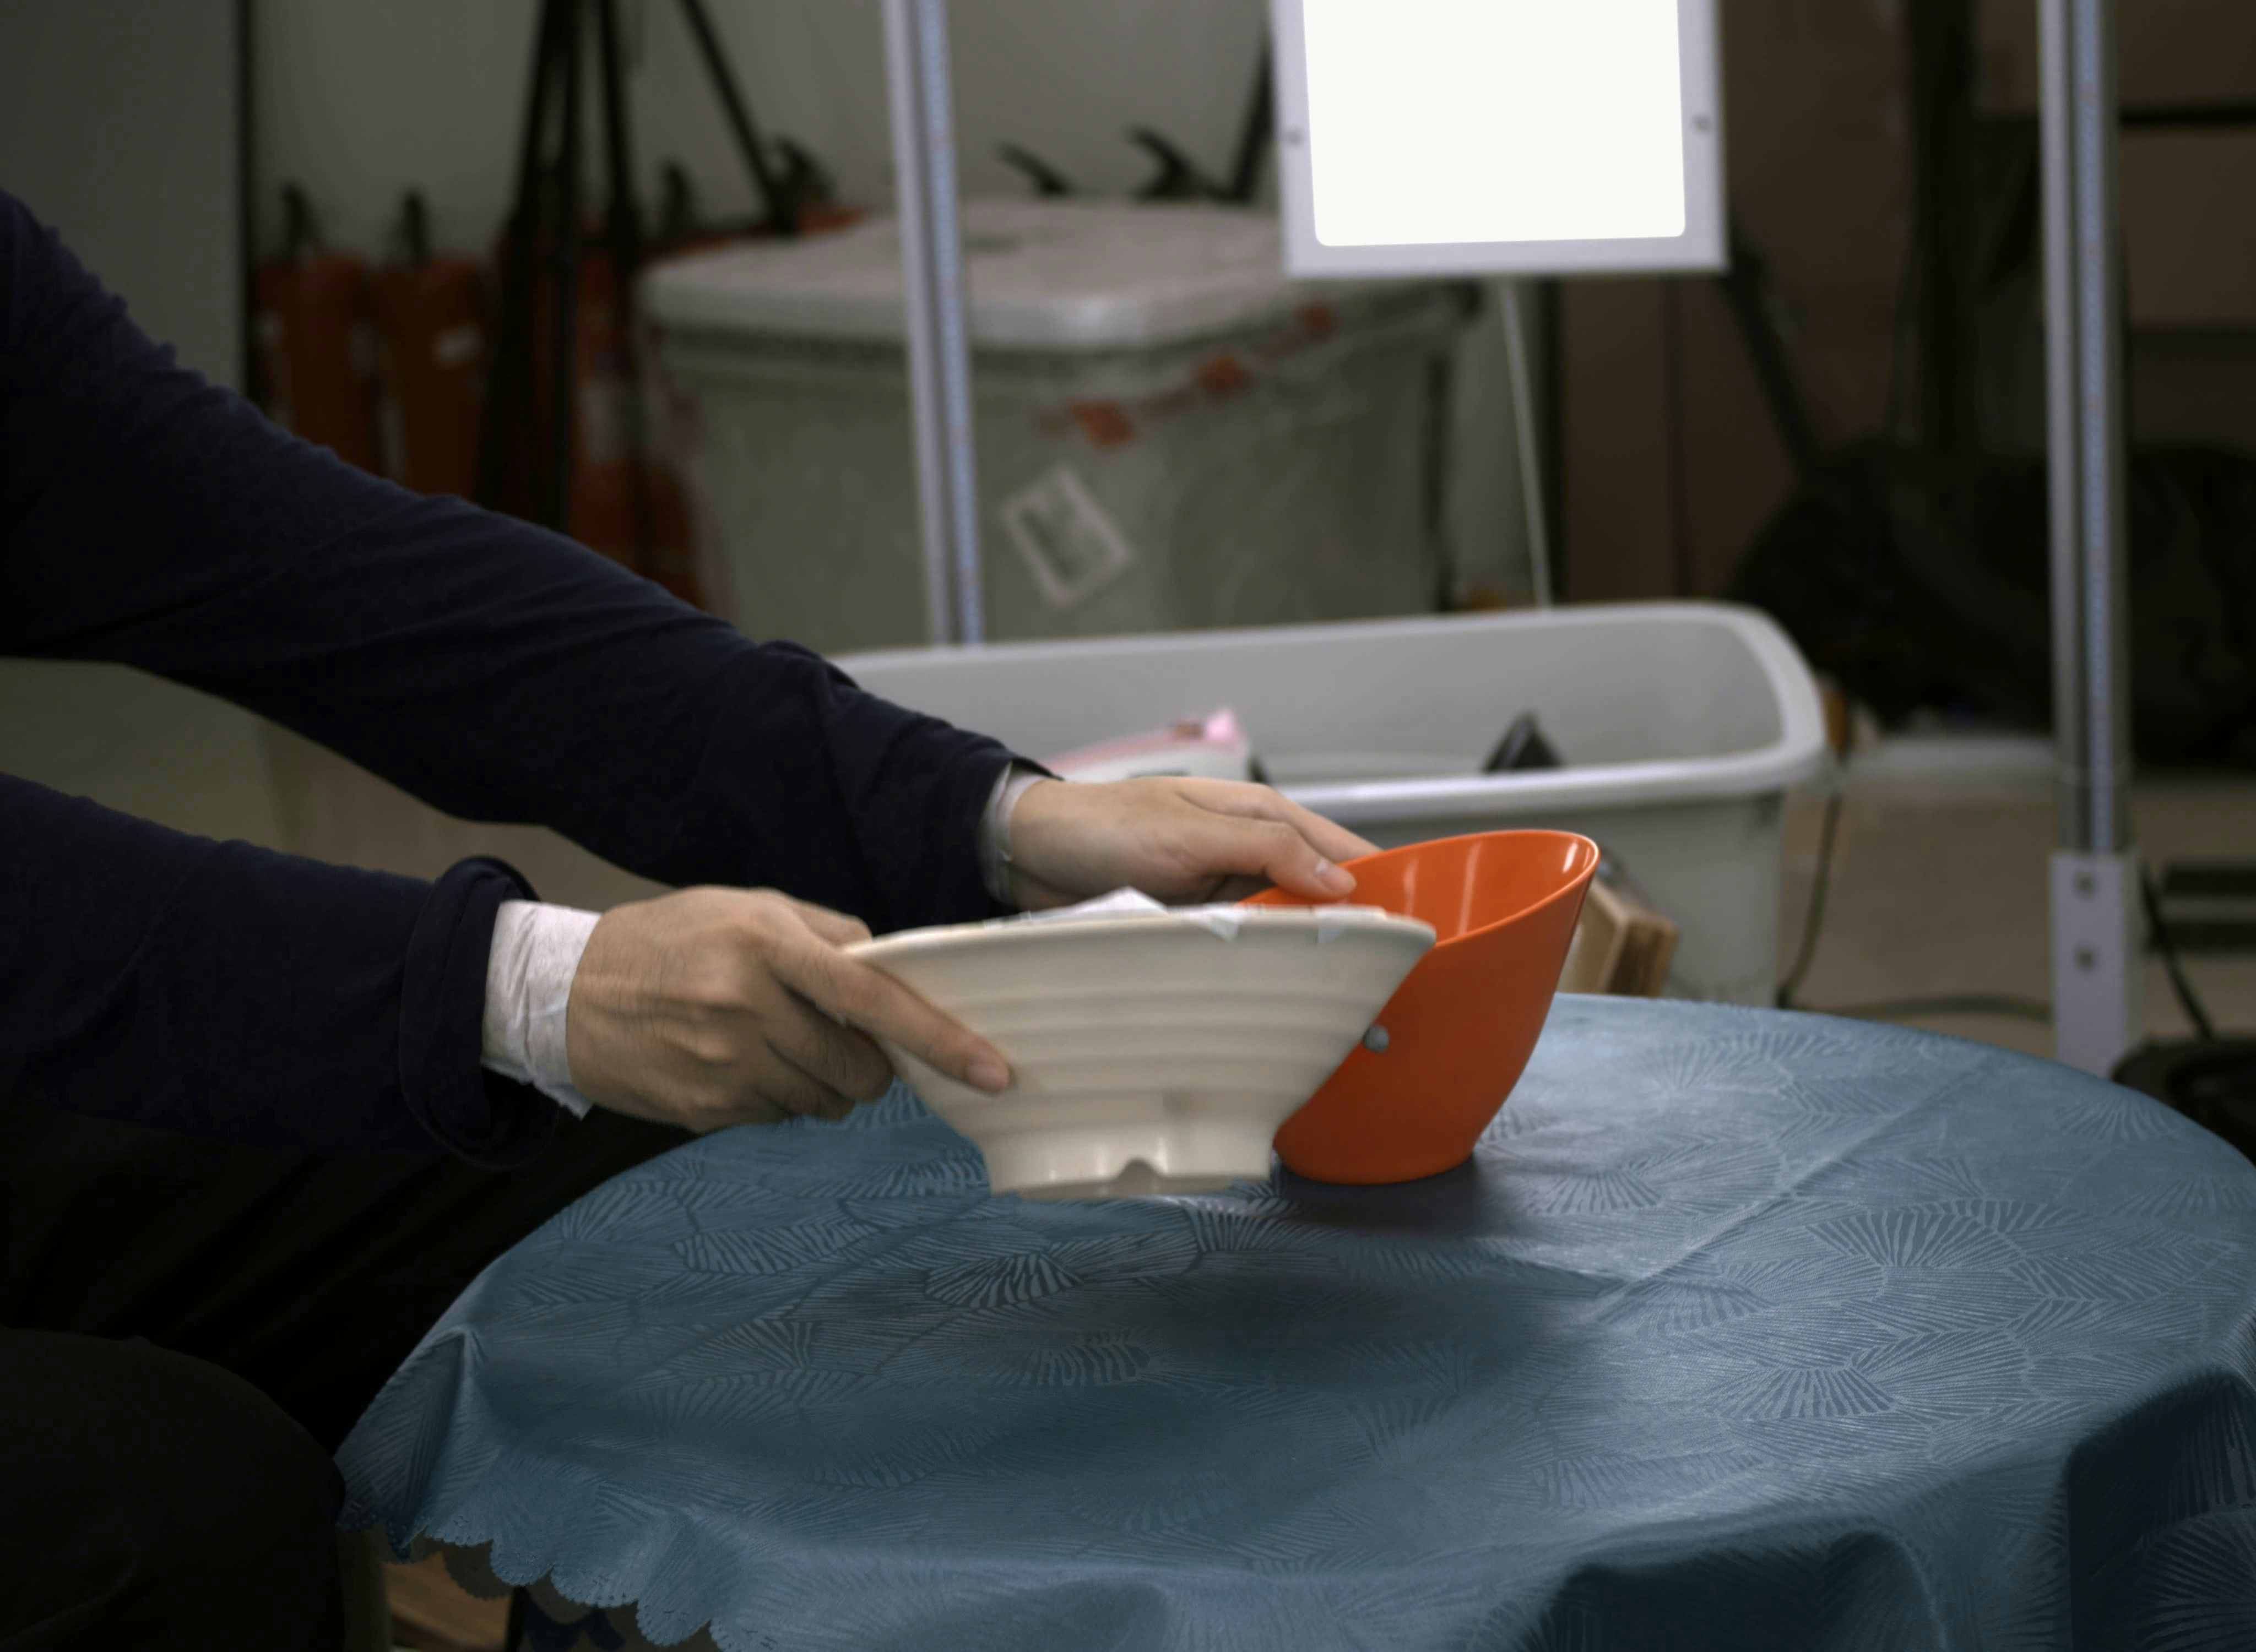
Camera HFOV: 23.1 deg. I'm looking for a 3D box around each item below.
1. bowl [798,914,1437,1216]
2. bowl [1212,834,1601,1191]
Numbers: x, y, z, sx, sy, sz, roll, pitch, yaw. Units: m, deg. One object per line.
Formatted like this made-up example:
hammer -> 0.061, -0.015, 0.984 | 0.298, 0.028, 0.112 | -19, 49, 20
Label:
bowl -> -0.001, 0.080, 1.736 | 0.203, 0.078, 0.204 | -3, -9, -2
bowl -> 0.095, 0.067, 1.904 | 0.148, 0.105, 0.148 | -7, 13, 0
